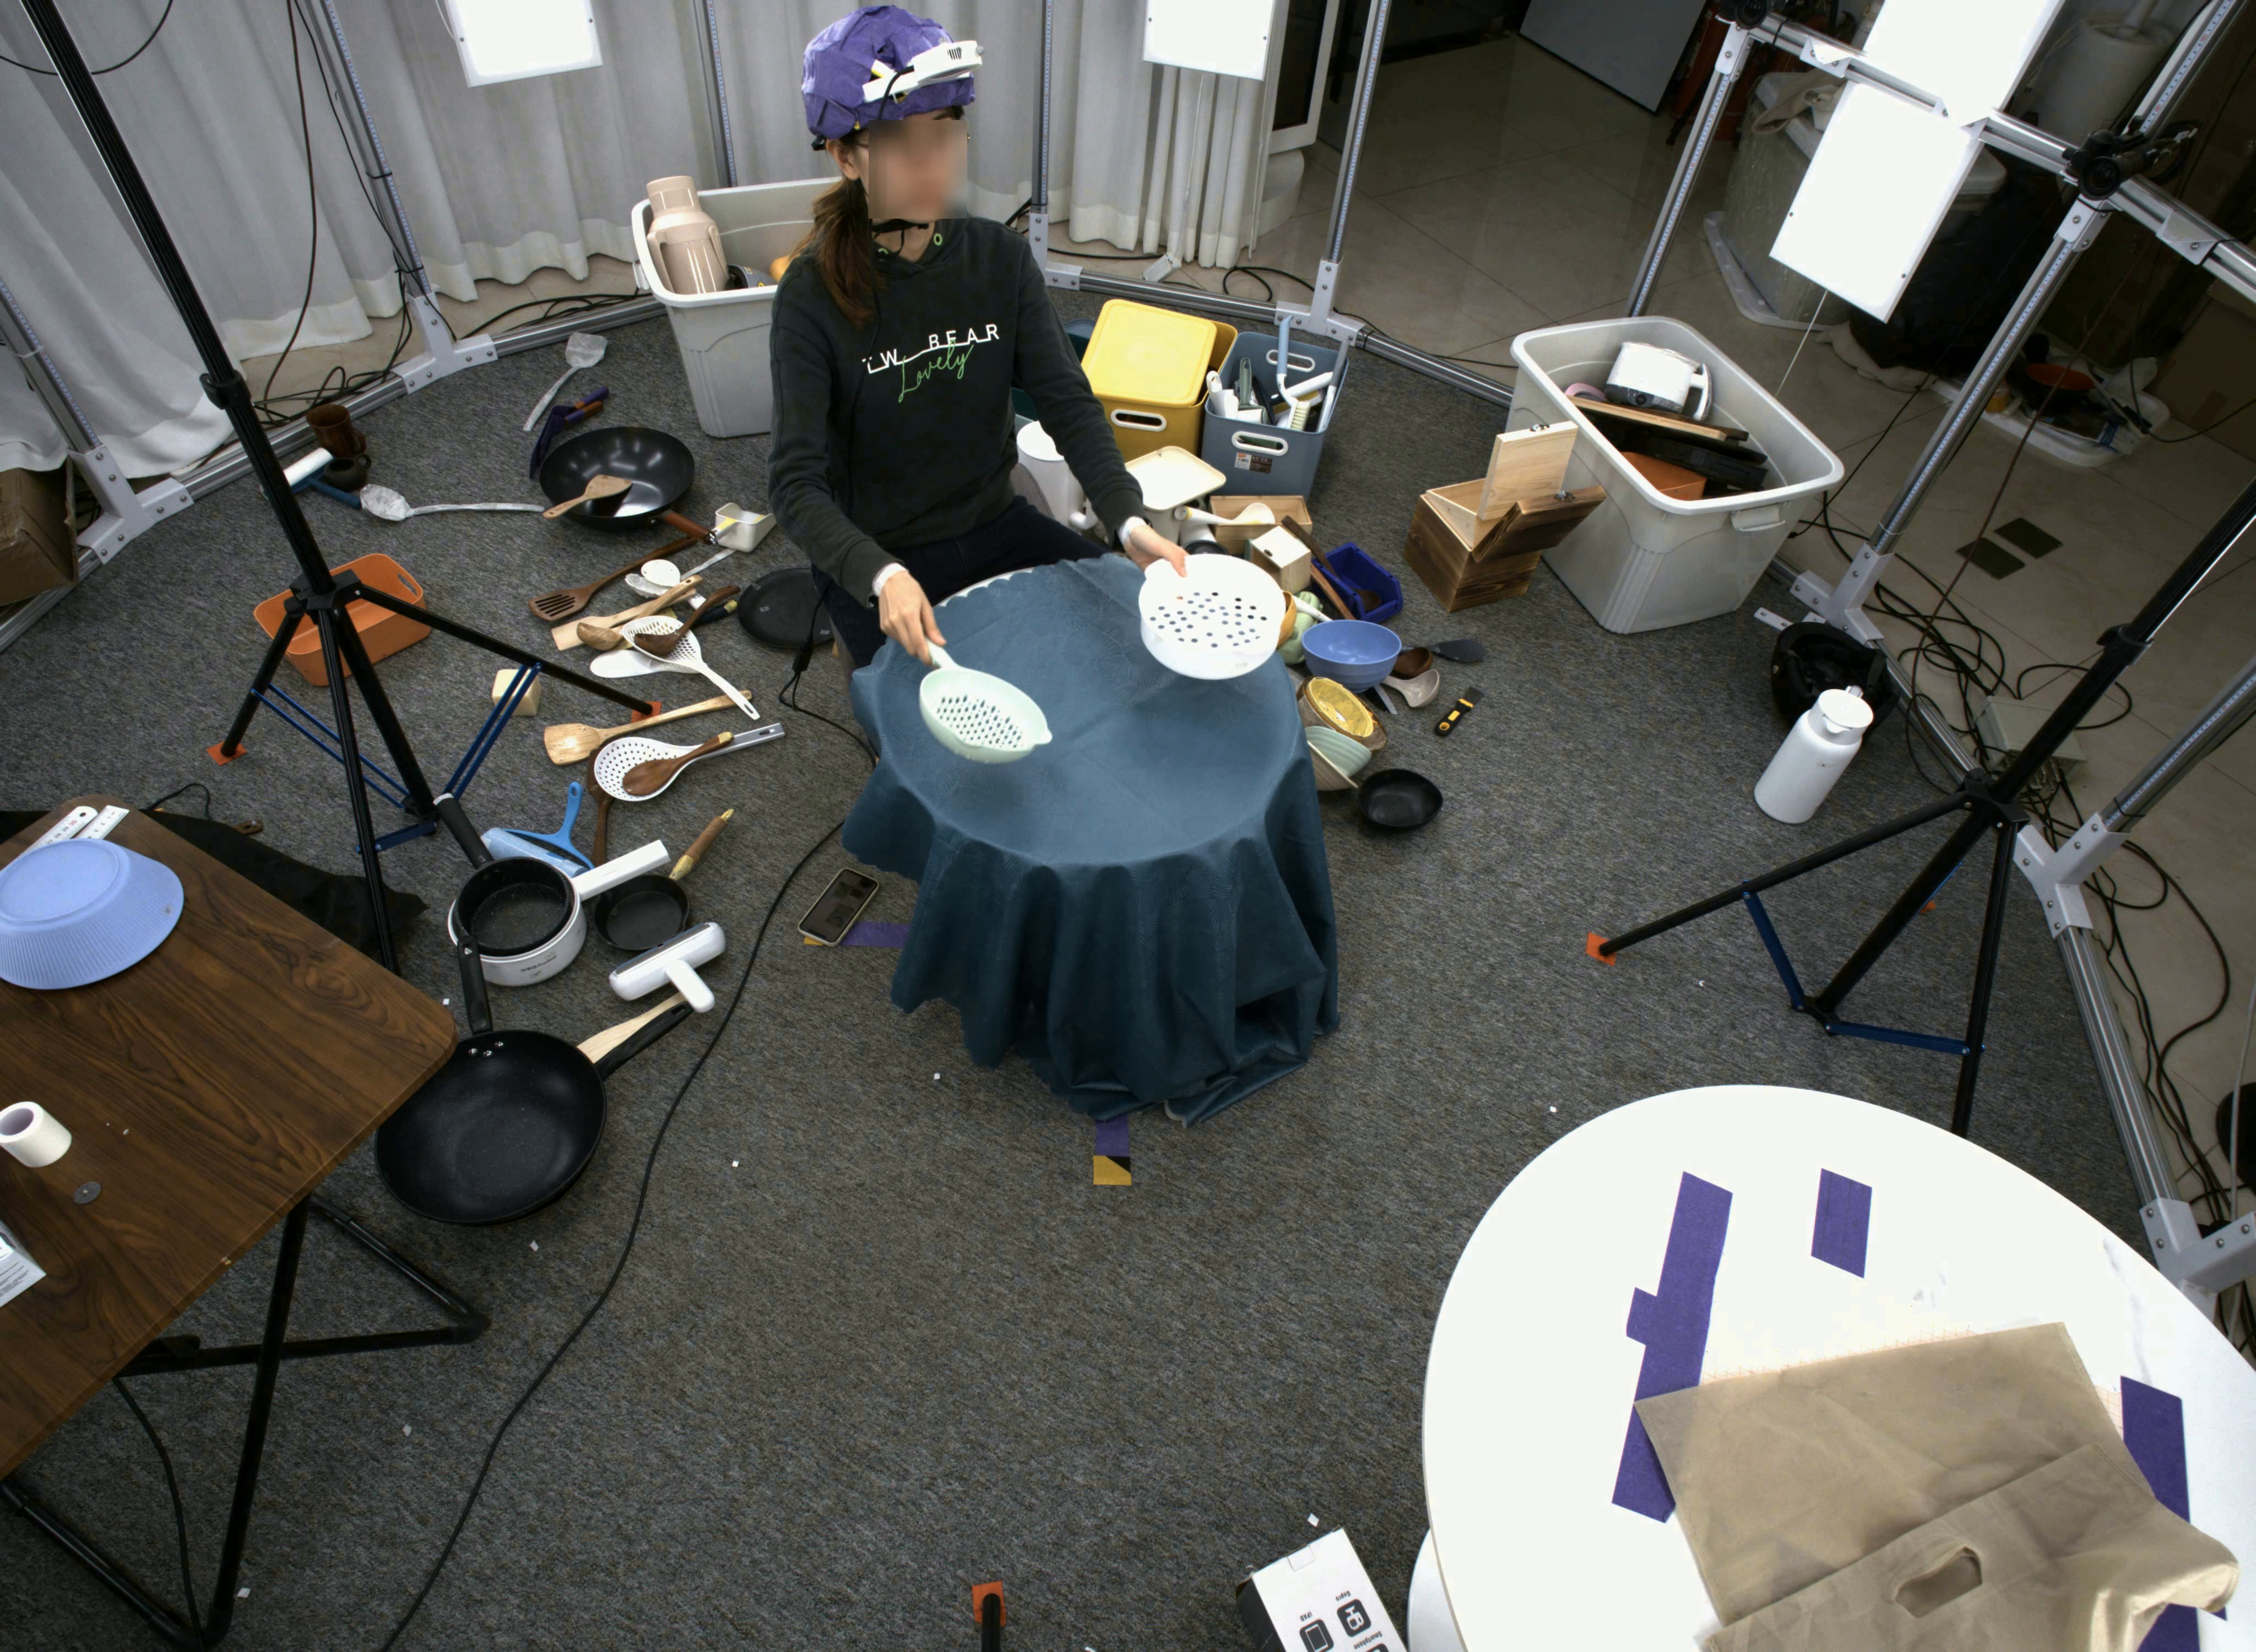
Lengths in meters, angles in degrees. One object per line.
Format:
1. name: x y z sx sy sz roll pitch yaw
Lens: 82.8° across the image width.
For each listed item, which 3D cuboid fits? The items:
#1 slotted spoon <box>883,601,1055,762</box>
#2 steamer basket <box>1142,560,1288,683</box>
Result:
1. slotted spoon: -0.235 -0.204 1.688 0.168 0.074 0.366 -2 48 -41
2. steamer basket: 0.119 -0.284 1.789 0.203 0.067 0.234 -33 57 -27
